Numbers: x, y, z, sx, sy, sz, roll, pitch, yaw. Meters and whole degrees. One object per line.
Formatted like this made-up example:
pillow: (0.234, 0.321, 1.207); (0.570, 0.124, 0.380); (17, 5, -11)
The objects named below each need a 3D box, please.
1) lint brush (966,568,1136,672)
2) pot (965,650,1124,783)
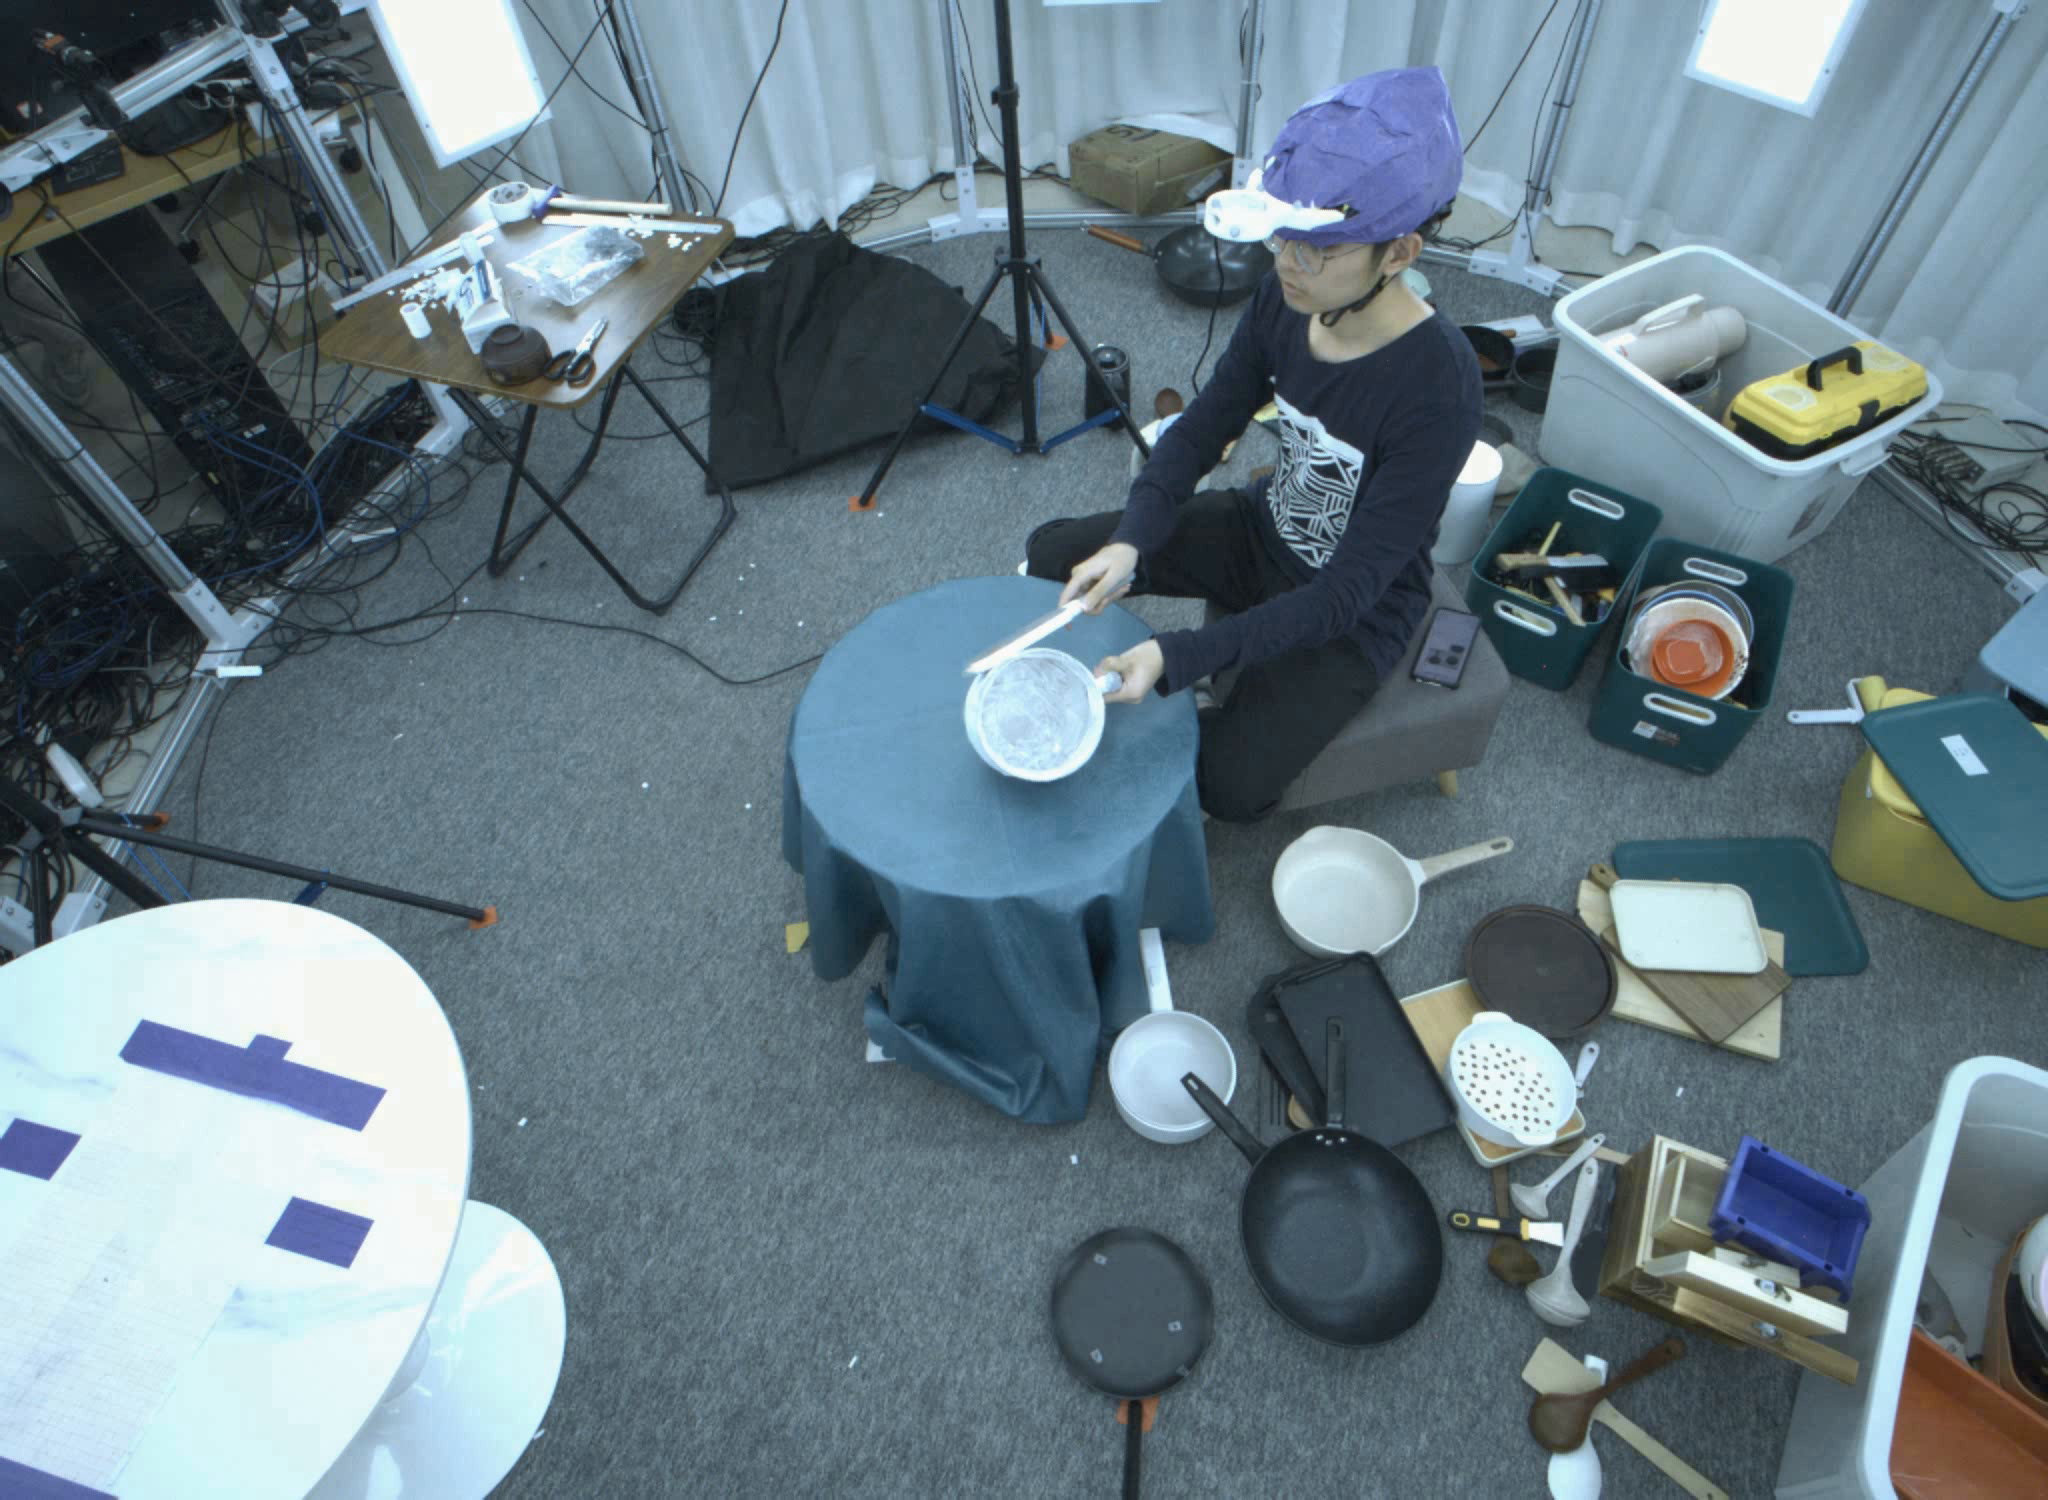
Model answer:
lint brush: (0.043, -0.185, 1.724); (0.312, 0.059, 0.021); (-33, 100, -27)
pot: (0.035, -0.060, 1.703); (0.235, 0.135, 0.180); (-25, 100, -10)
